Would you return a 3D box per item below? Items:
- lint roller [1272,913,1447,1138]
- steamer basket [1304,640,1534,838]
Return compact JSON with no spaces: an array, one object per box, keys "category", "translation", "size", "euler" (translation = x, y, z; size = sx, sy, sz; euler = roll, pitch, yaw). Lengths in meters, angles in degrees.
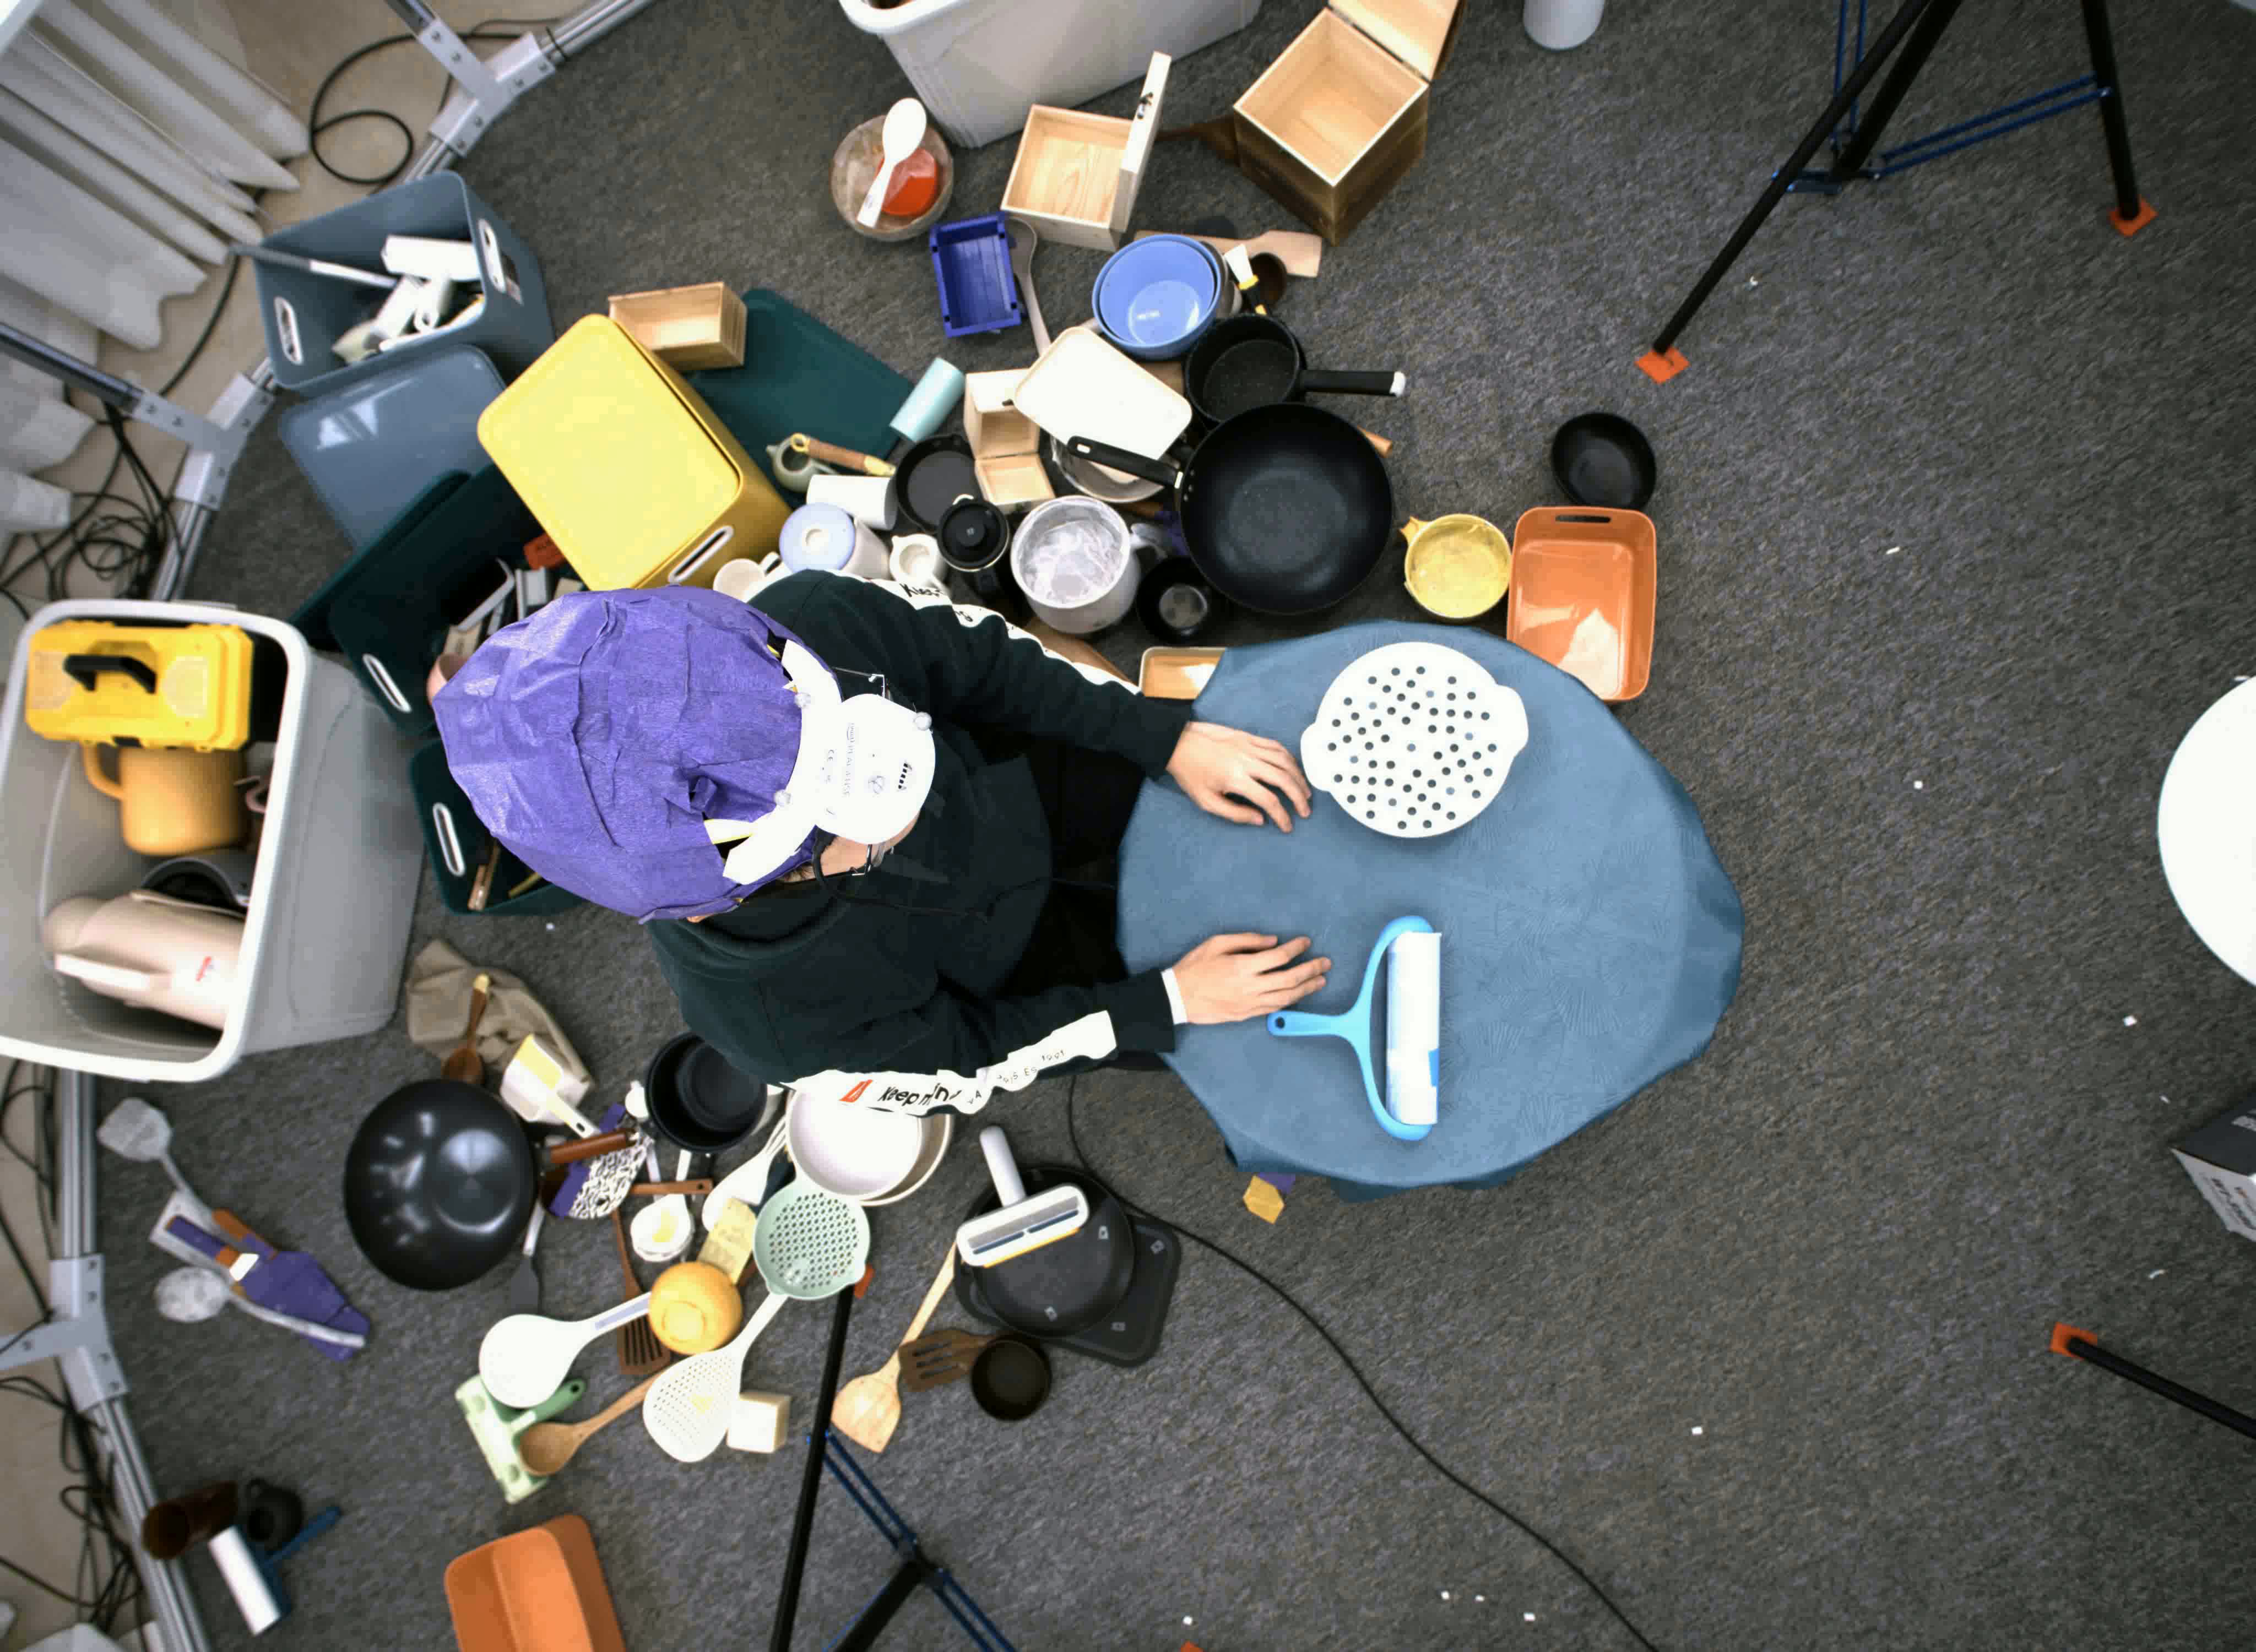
[{"category":"lint roller","translation":[0.238,0.207,1.427],"size":[0.181,0.068,0.228],"euler":[-4,89,9]},{"category":"steamer basket","translation":[0.300,-0.089,1.424],"size":[0.232,0.069,0.200],"euler":[-11,84,11]}]
